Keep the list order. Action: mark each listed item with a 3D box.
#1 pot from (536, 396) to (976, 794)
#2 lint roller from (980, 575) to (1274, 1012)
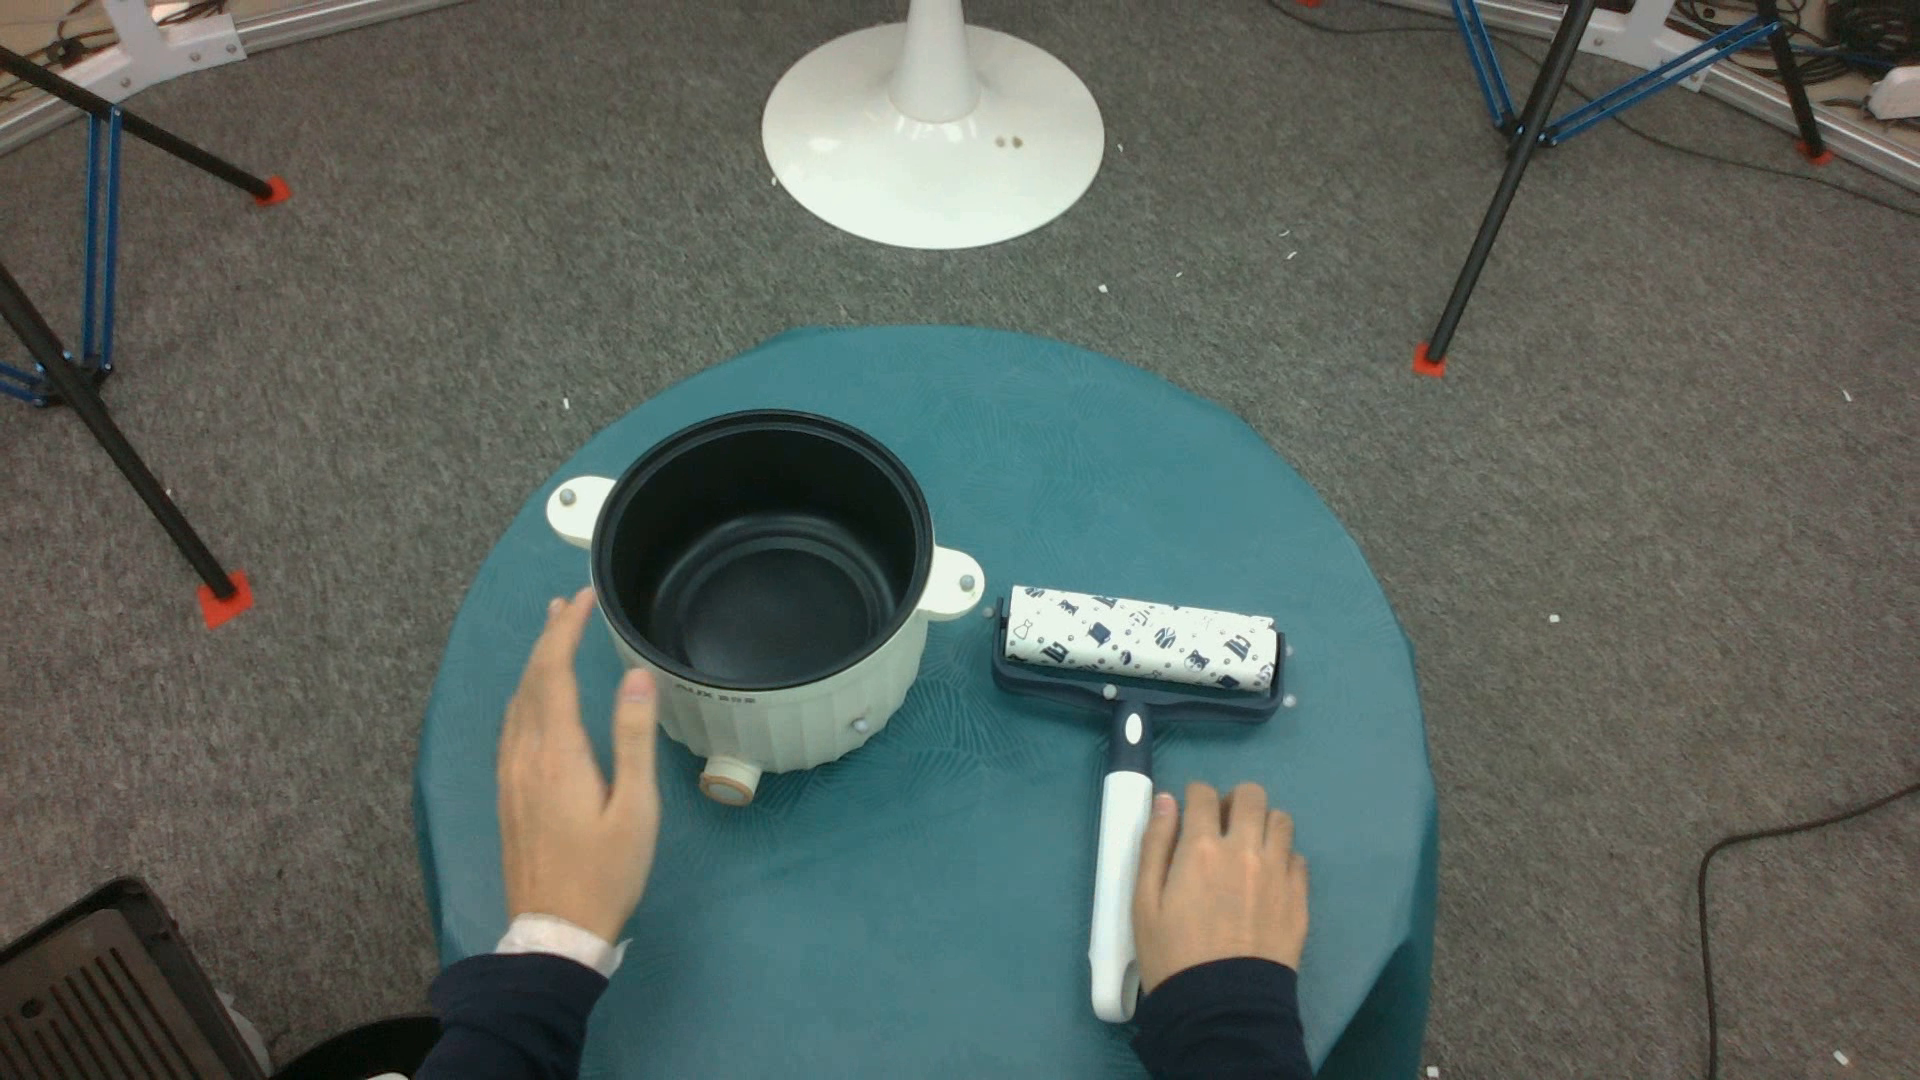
[{"bbox_3d":[-0.113,0.035,0.783,0.240,0.142,0.191,10,52,5],"label":"pot"},{"bbox_3d":[0.091,0.139,0.782,0.176,0.050,0.248,7,58,0],"label":"lint roller"}]
